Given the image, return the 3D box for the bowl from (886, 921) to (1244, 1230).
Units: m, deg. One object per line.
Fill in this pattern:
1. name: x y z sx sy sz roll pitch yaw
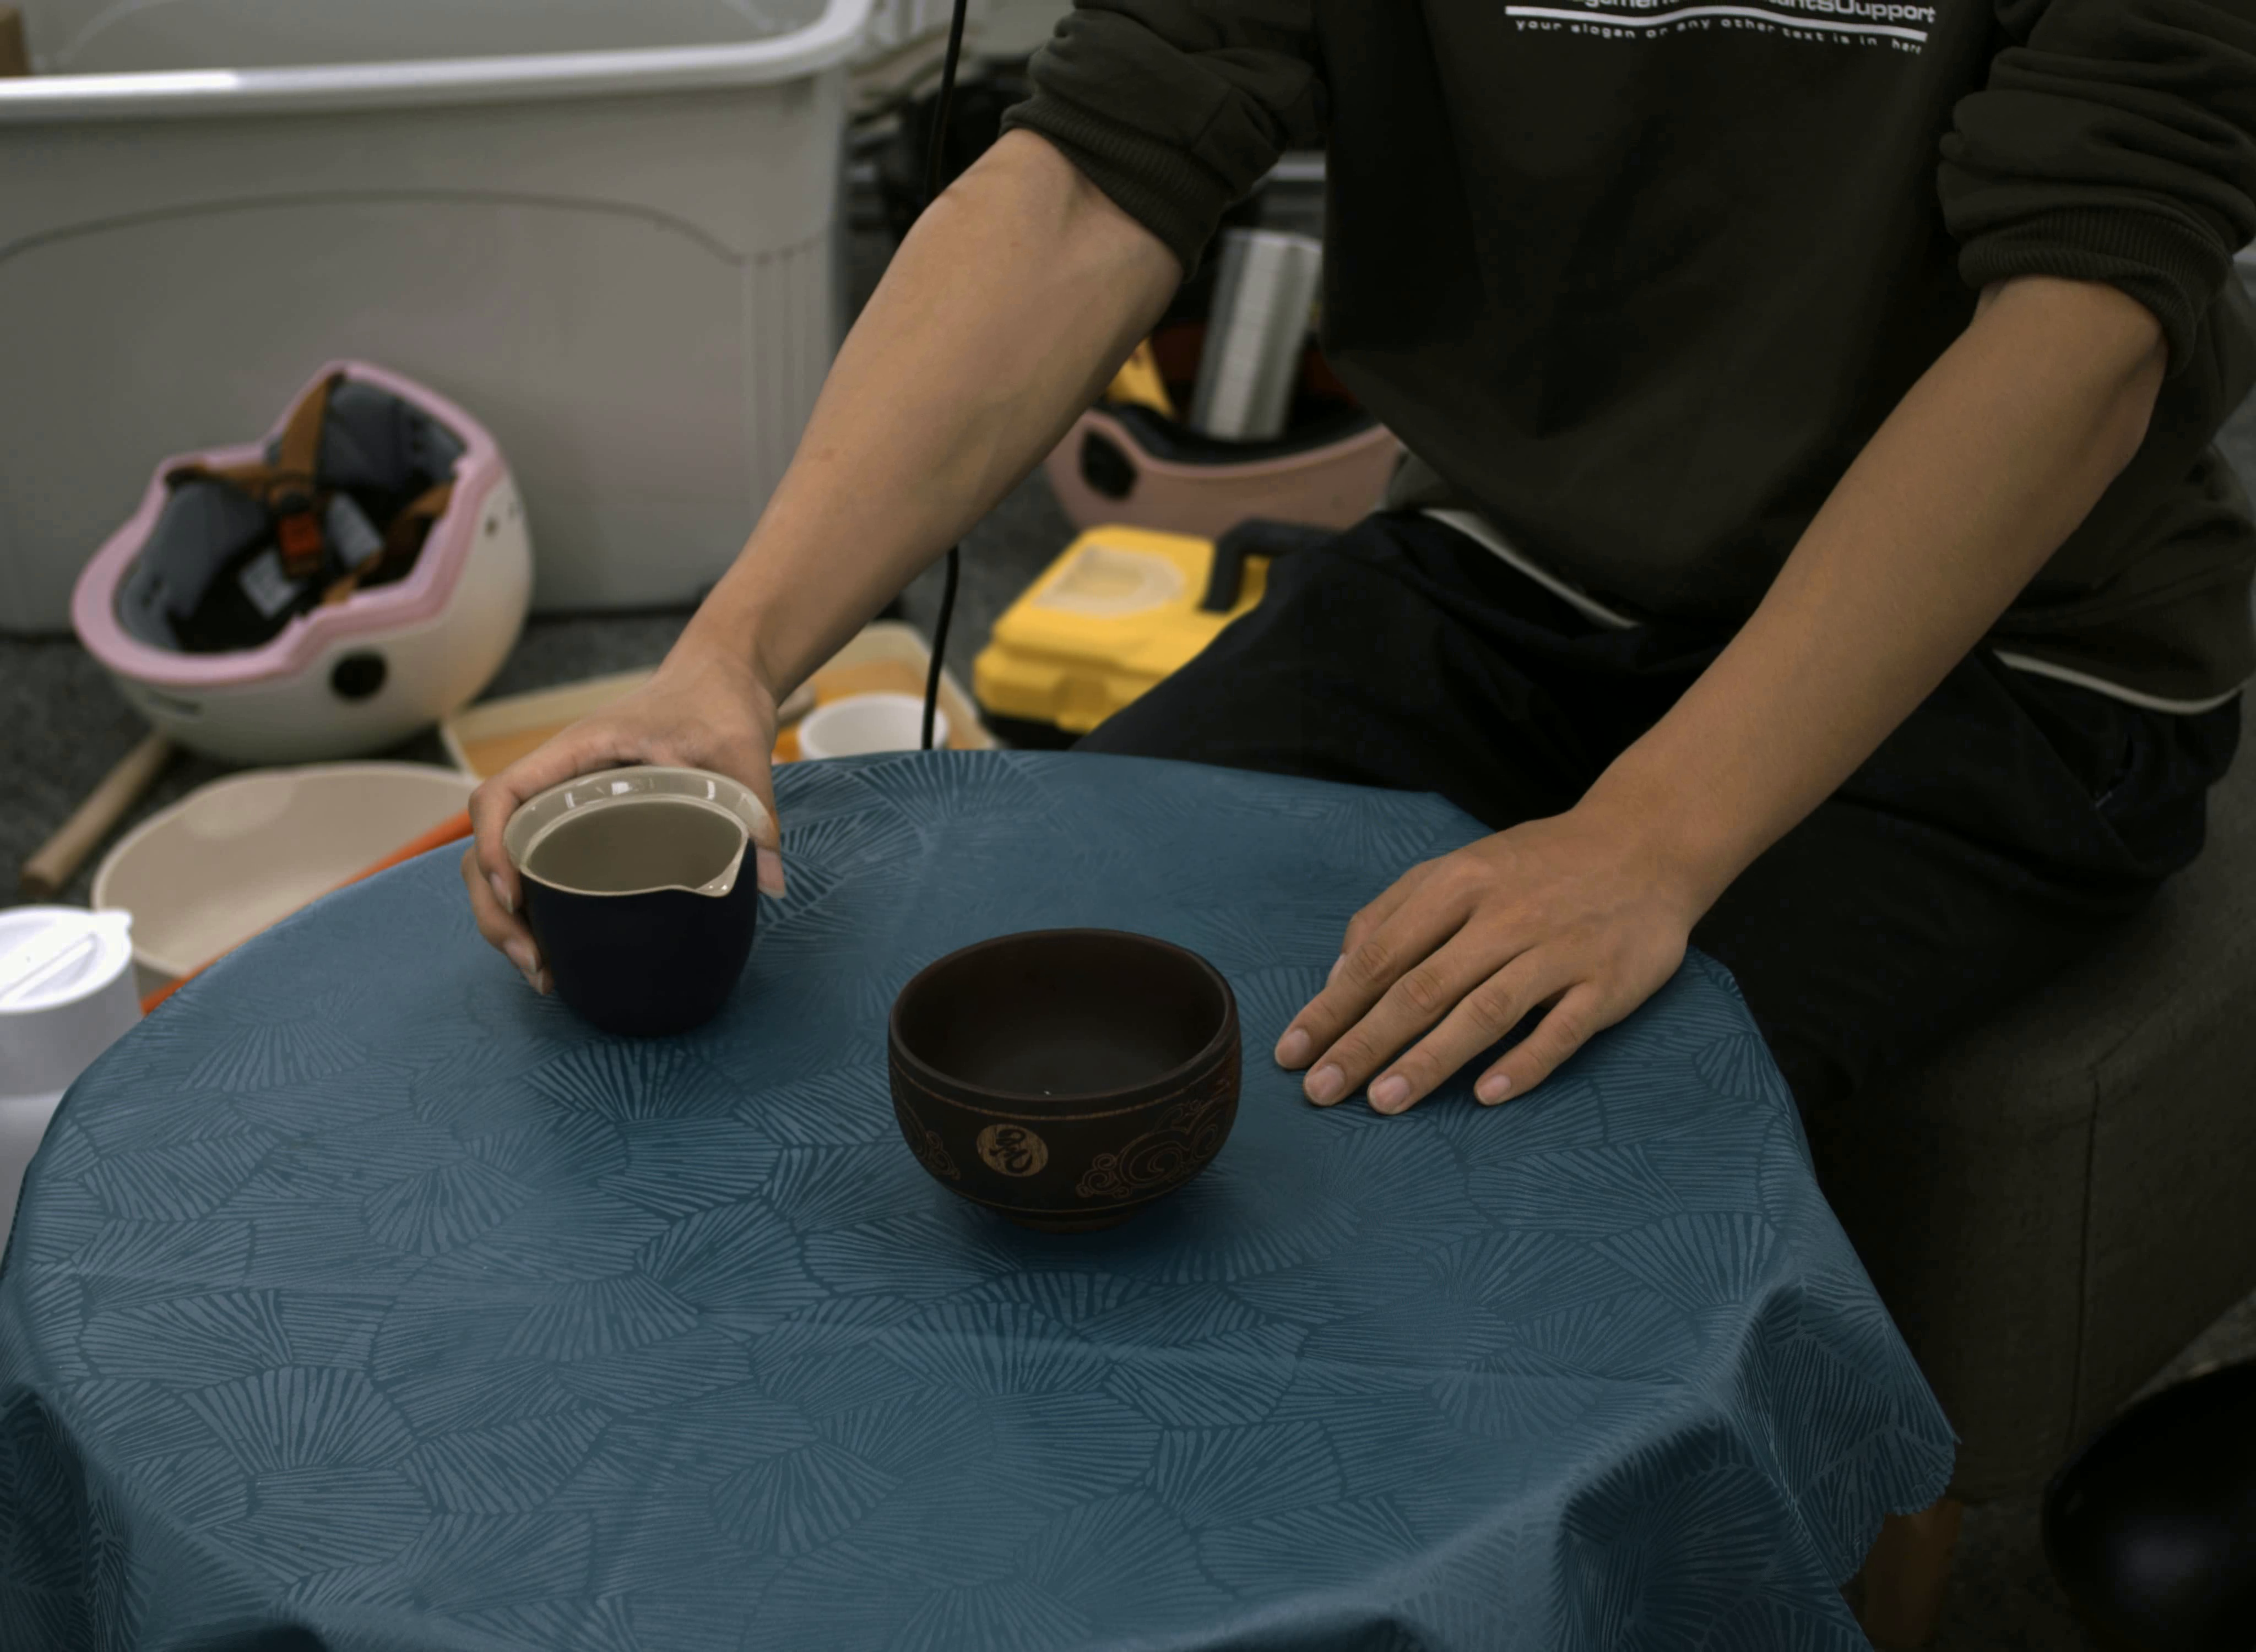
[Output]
1. bowl: -0.020 0.089 1.853 0.117 0.069 0.120 -4 28 2

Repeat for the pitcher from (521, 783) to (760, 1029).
1. pitcher: -0.167 0.031 1.972 0.084 0.070 0.096 -18 31 -27
